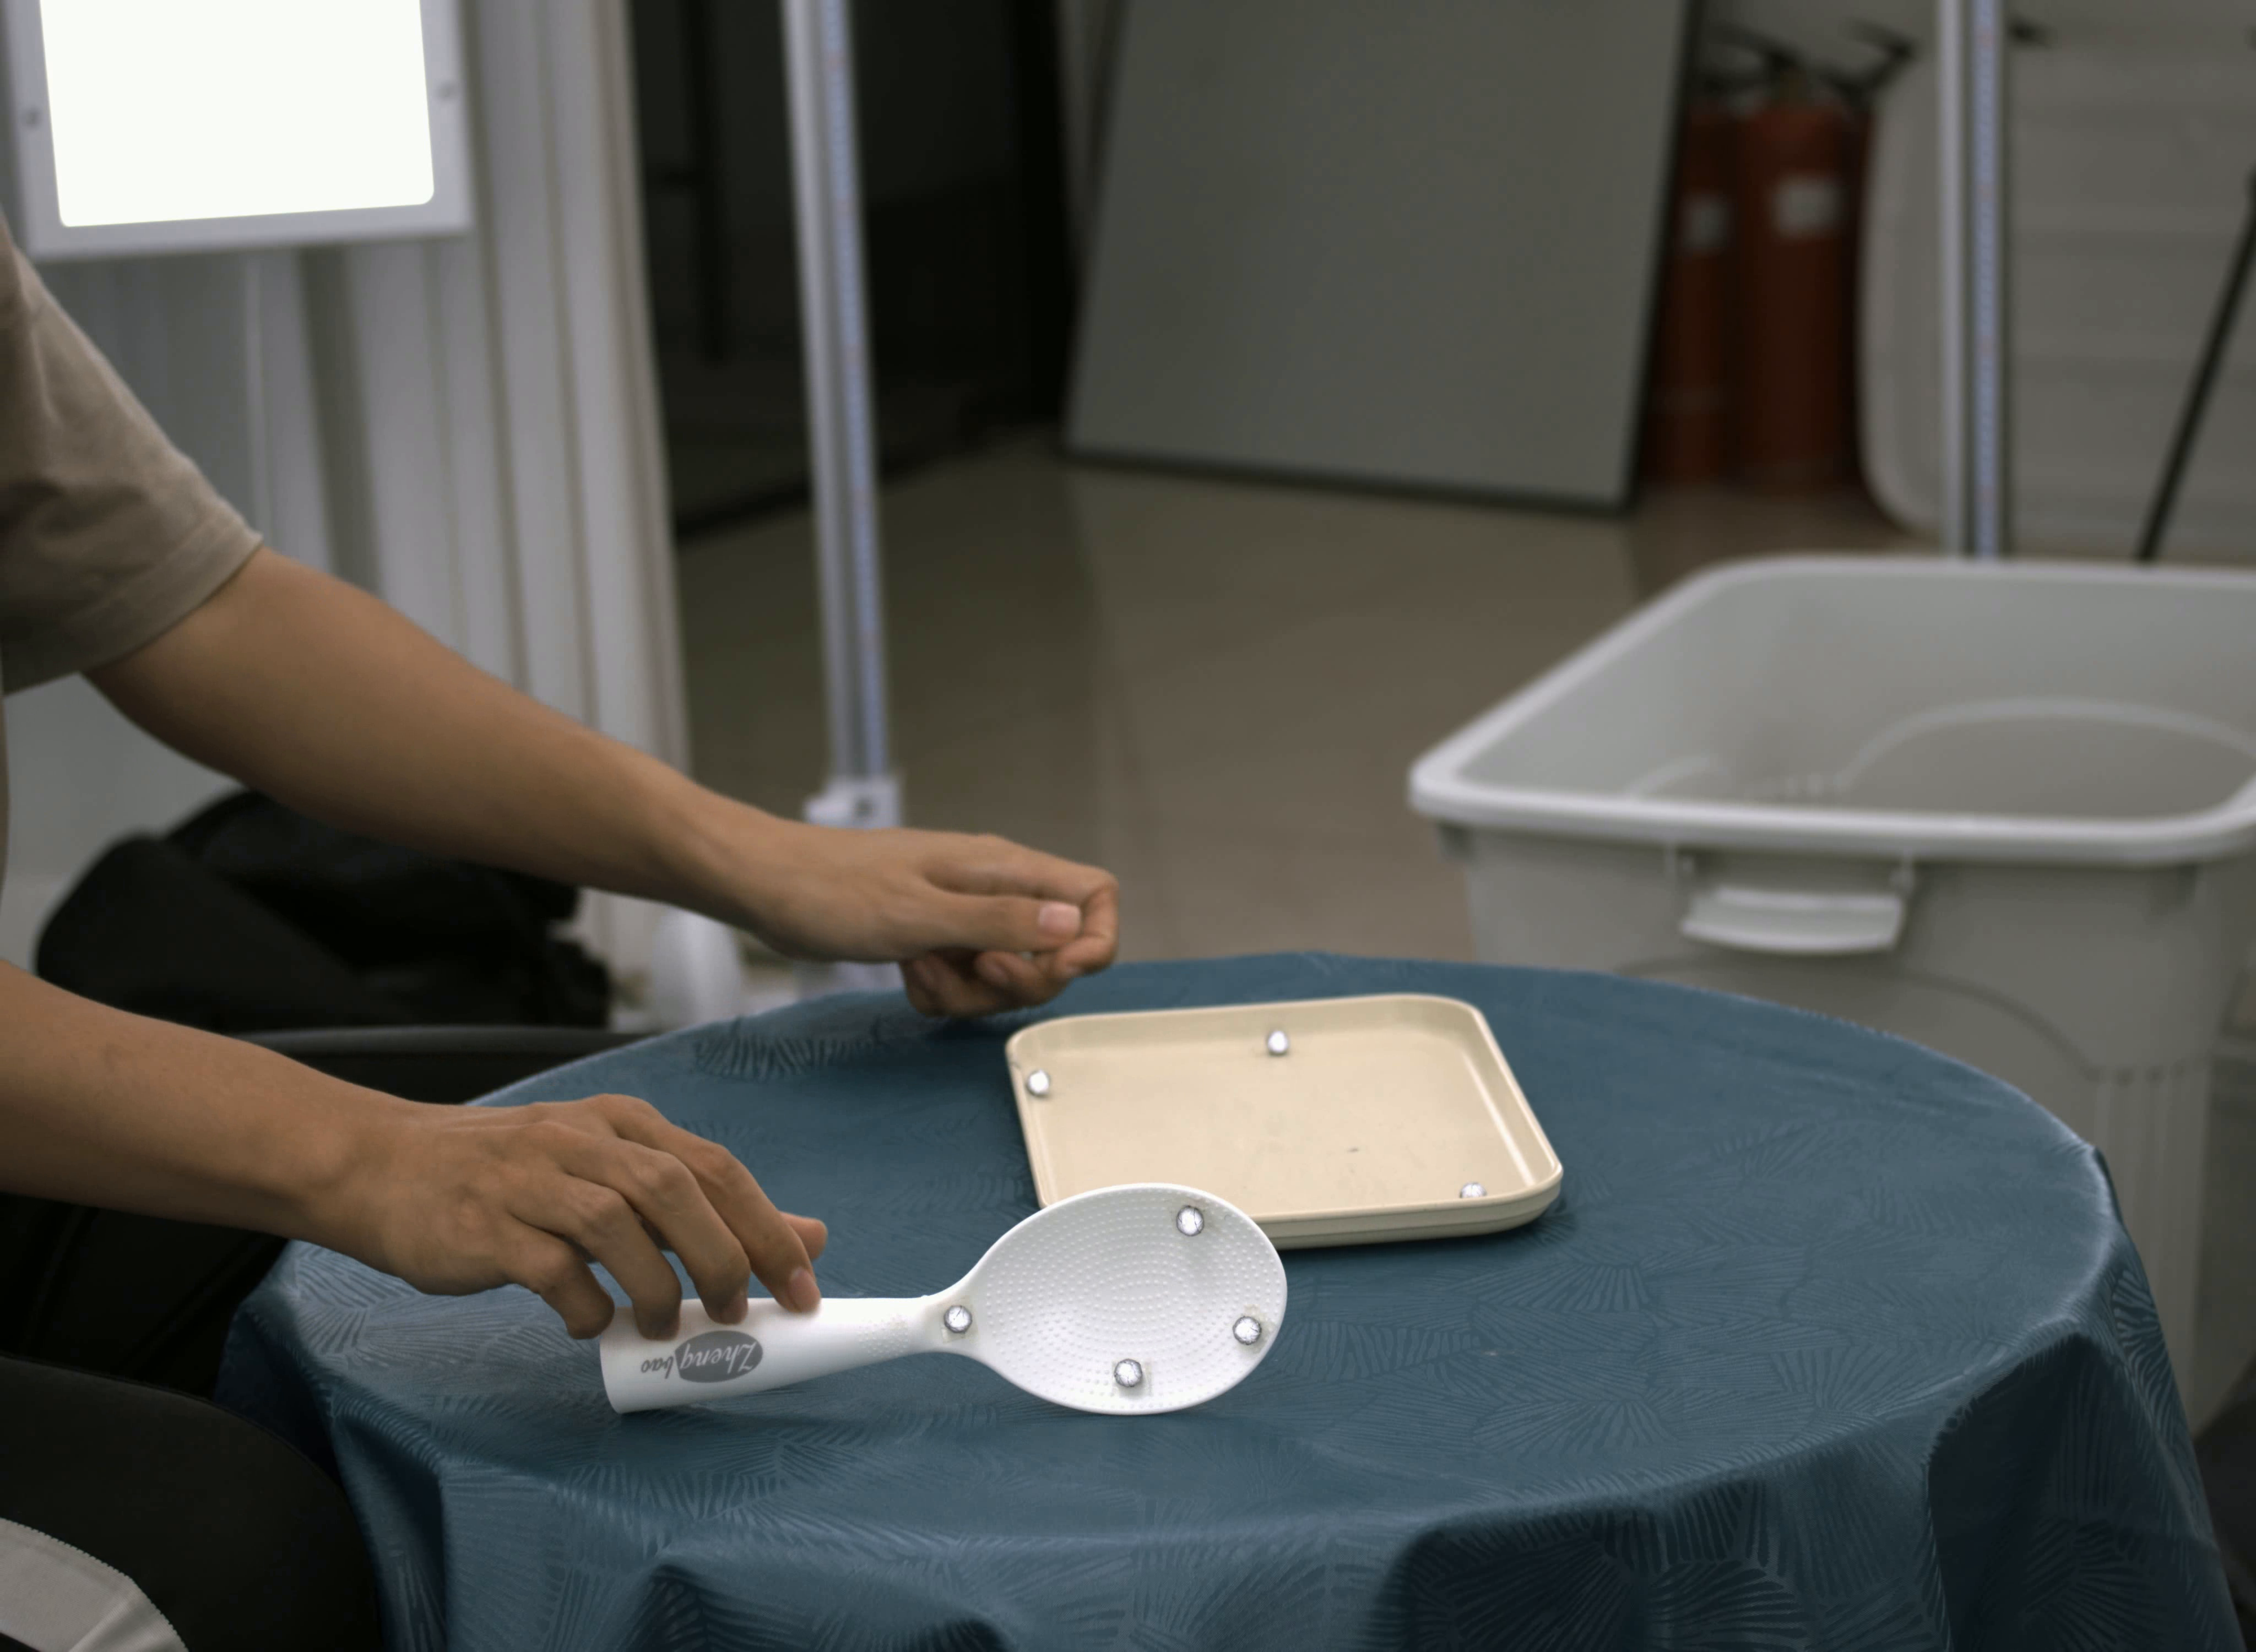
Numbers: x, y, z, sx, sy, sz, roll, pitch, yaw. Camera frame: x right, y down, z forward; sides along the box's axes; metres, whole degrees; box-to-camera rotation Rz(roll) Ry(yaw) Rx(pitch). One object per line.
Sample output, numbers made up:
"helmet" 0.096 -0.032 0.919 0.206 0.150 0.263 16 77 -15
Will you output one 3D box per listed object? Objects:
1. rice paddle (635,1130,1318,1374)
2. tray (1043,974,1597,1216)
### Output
"rice paddle" -0.044 0.132 1.585 0.204 0.069 0.029 -8 5 11
"tray" 0.061 0.091 1.818 0.169 0.017 0.240 -4 13 -3
